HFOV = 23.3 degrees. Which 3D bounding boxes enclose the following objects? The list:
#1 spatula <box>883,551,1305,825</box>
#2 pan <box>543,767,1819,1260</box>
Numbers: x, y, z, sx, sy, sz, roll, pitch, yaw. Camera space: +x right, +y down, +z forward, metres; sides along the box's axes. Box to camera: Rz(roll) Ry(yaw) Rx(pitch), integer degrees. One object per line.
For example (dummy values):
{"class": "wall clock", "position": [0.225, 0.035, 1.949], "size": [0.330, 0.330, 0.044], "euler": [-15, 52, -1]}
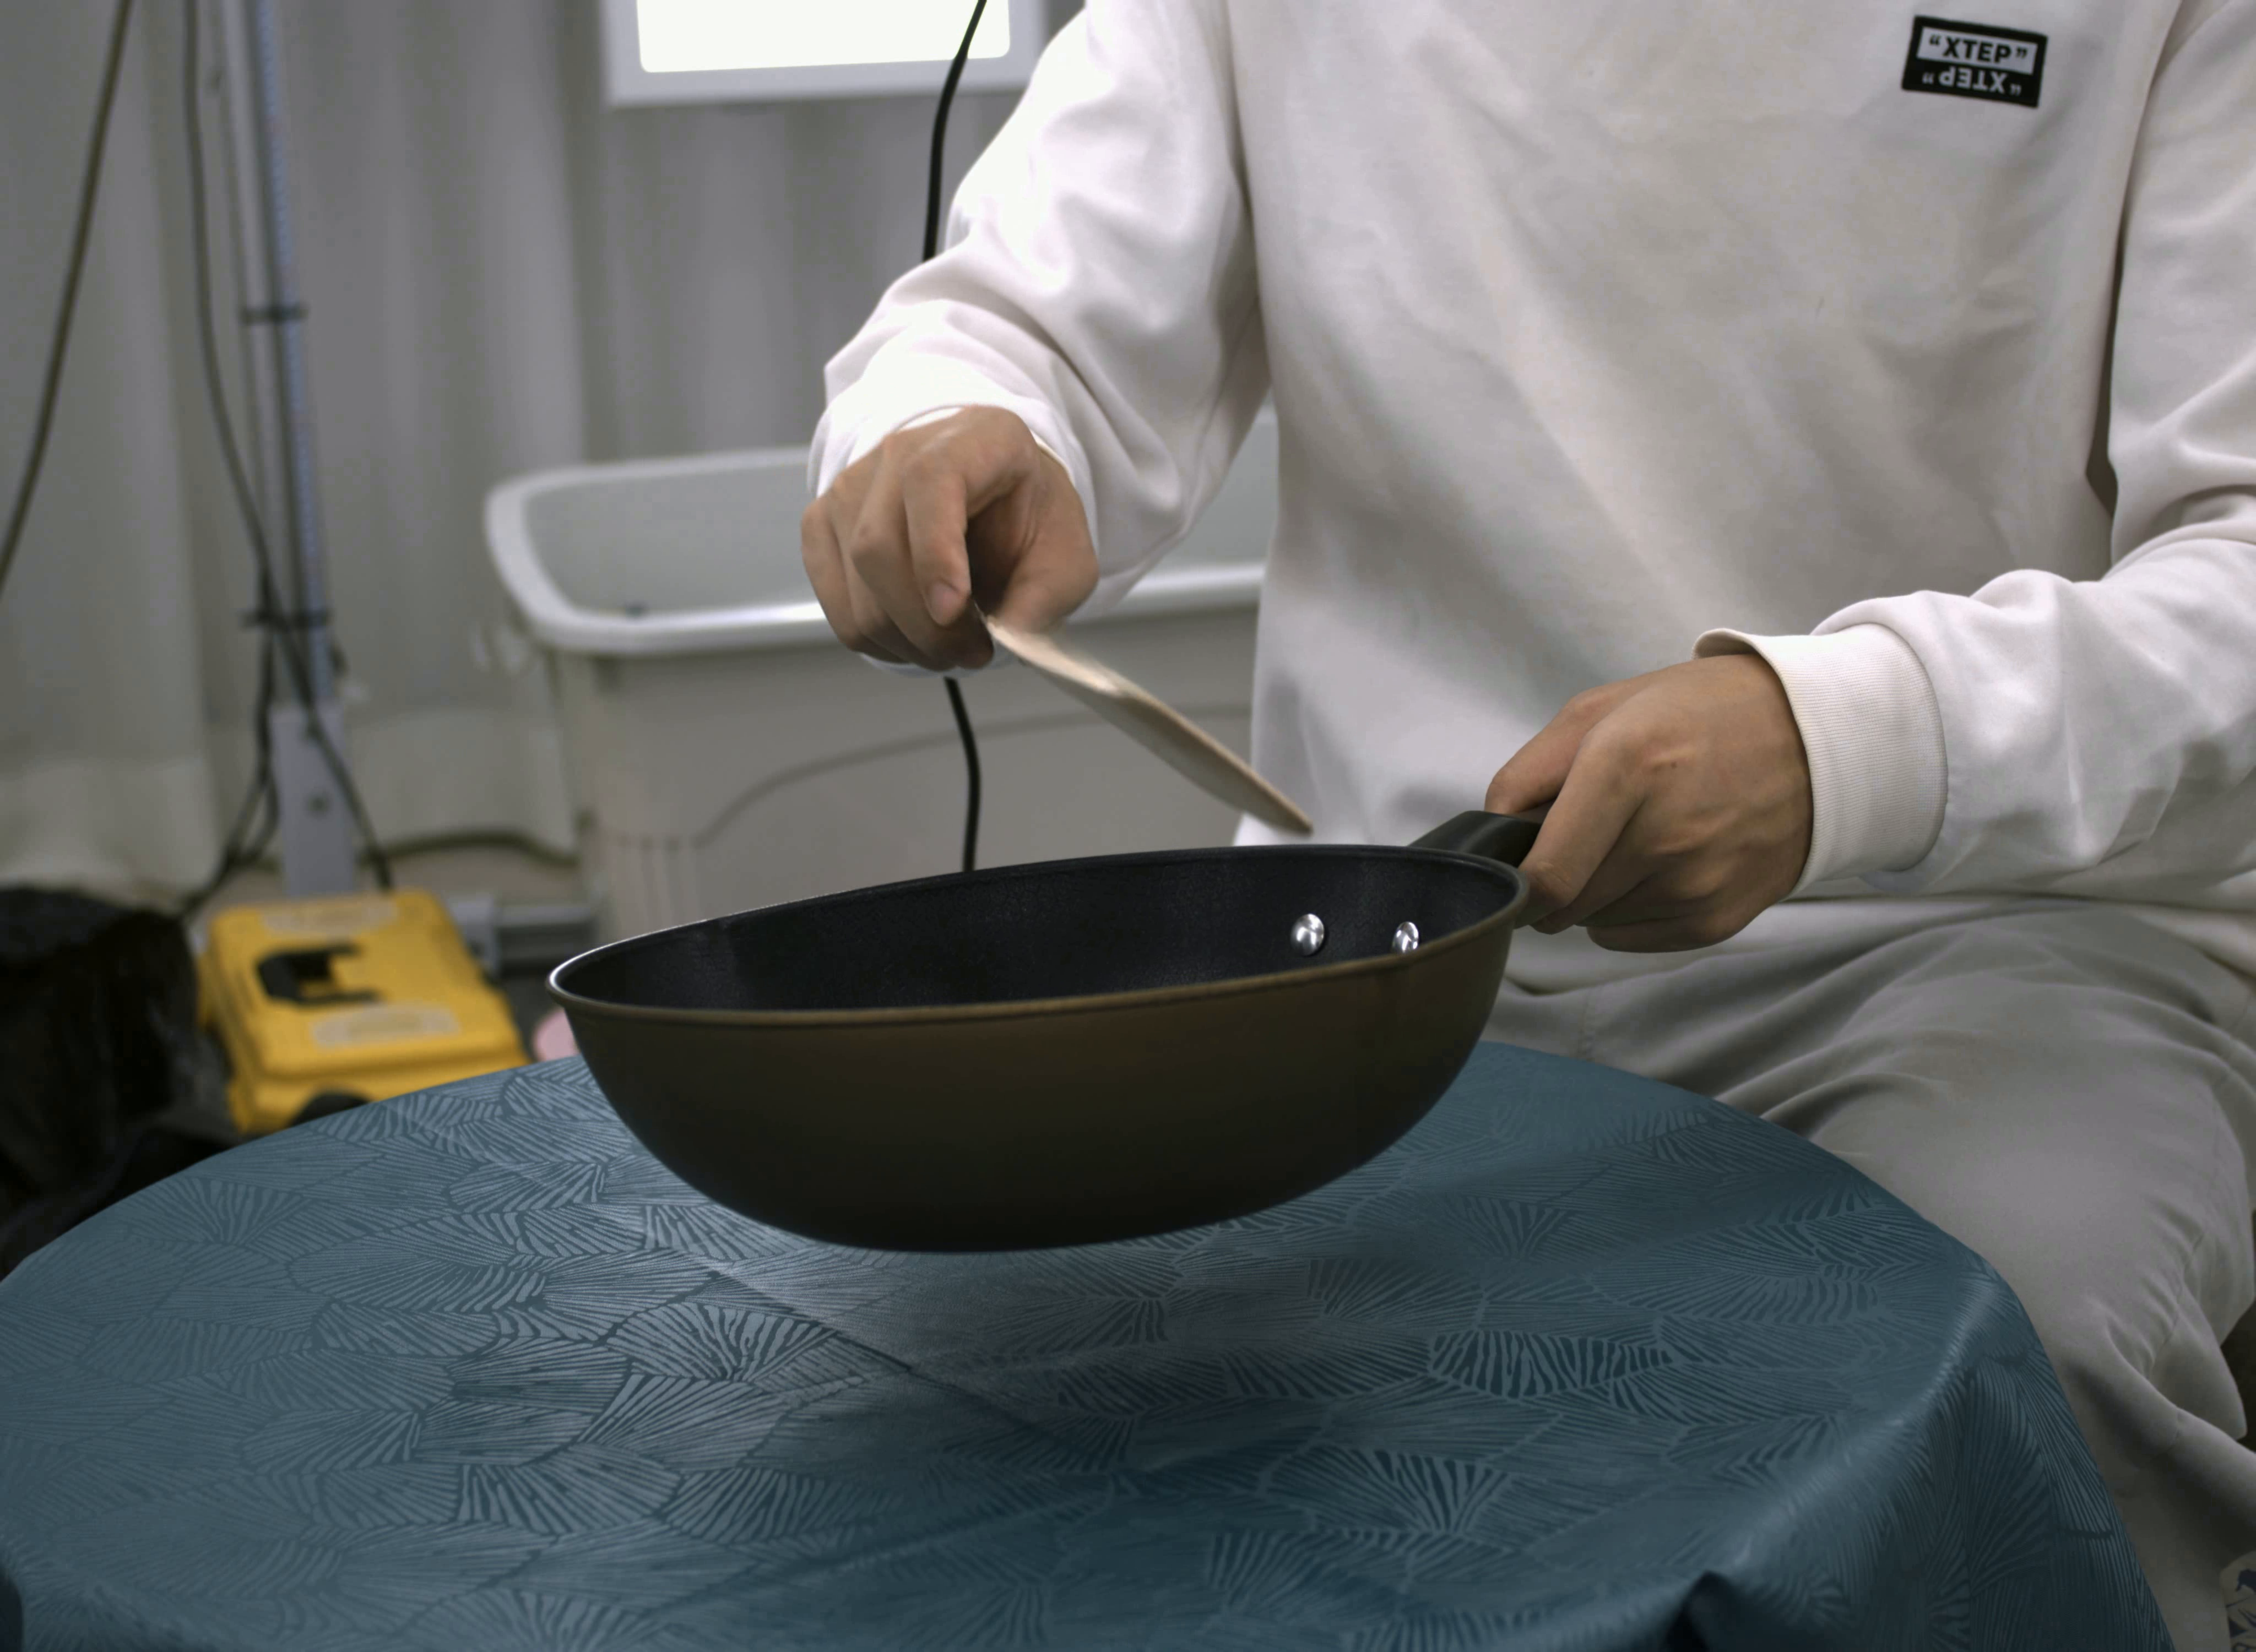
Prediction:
{"class": "spatula", "position": [-0.024, -0.050, 1.637], "size": [0.071, 0.010, 0.295], "euler": [38, -2, -23]}
{"class": "pan", "position": [0.044, 0.053, 1.613], "size": [0.462, 0.087, 0.289], "euler": [-12, 10, -42]}
